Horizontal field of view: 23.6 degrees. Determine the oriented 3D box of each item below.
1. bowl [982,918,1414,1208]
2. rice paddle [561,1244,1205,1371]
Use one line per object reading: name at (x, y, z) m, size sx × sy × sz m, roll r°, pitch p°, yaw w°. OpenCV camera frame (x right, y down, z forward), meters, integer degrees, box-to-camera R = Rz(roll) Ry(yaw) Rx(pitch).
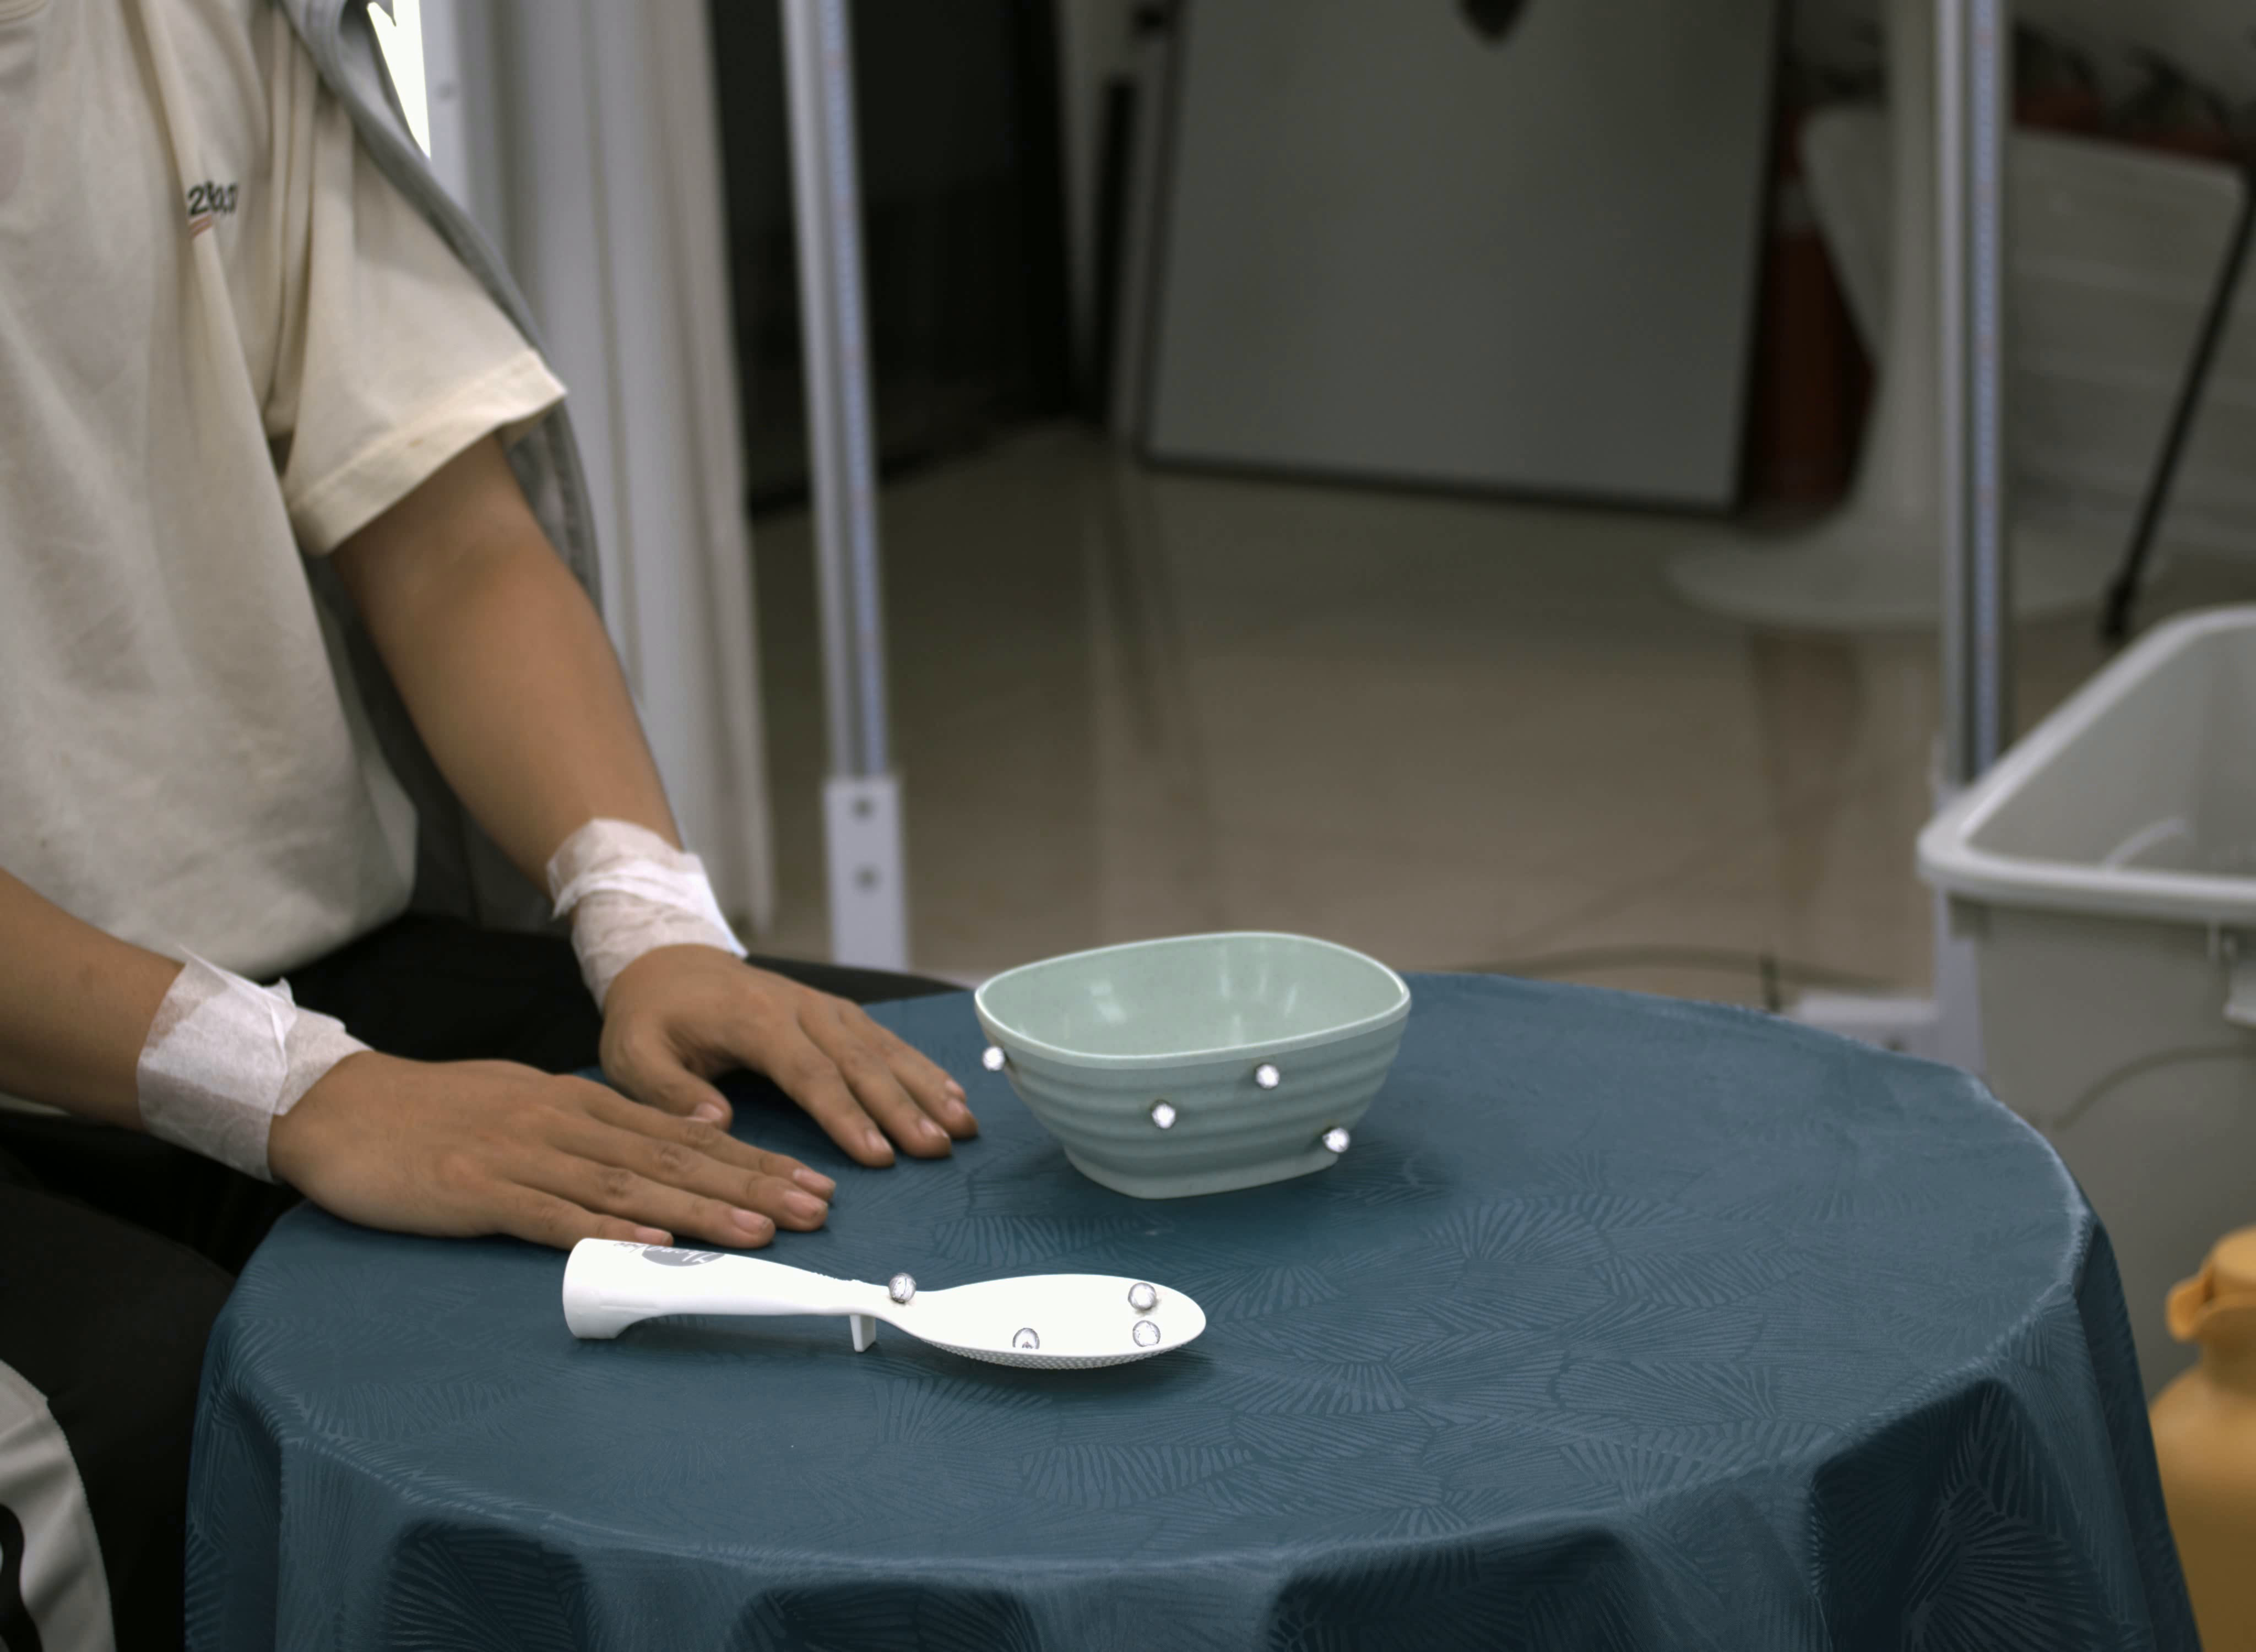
bowl at (0.025, 0.082, 1.800) m, size 0.149 × 0.059 × 0.152 m, roll -5°, pitch 17°, yaw 1°
rice paddle at (-0.074, 0.145, 1.636) m, size 0.205 × 0.030 × 0.068 m, roll 1°, pitch 16°, yaw 20°
